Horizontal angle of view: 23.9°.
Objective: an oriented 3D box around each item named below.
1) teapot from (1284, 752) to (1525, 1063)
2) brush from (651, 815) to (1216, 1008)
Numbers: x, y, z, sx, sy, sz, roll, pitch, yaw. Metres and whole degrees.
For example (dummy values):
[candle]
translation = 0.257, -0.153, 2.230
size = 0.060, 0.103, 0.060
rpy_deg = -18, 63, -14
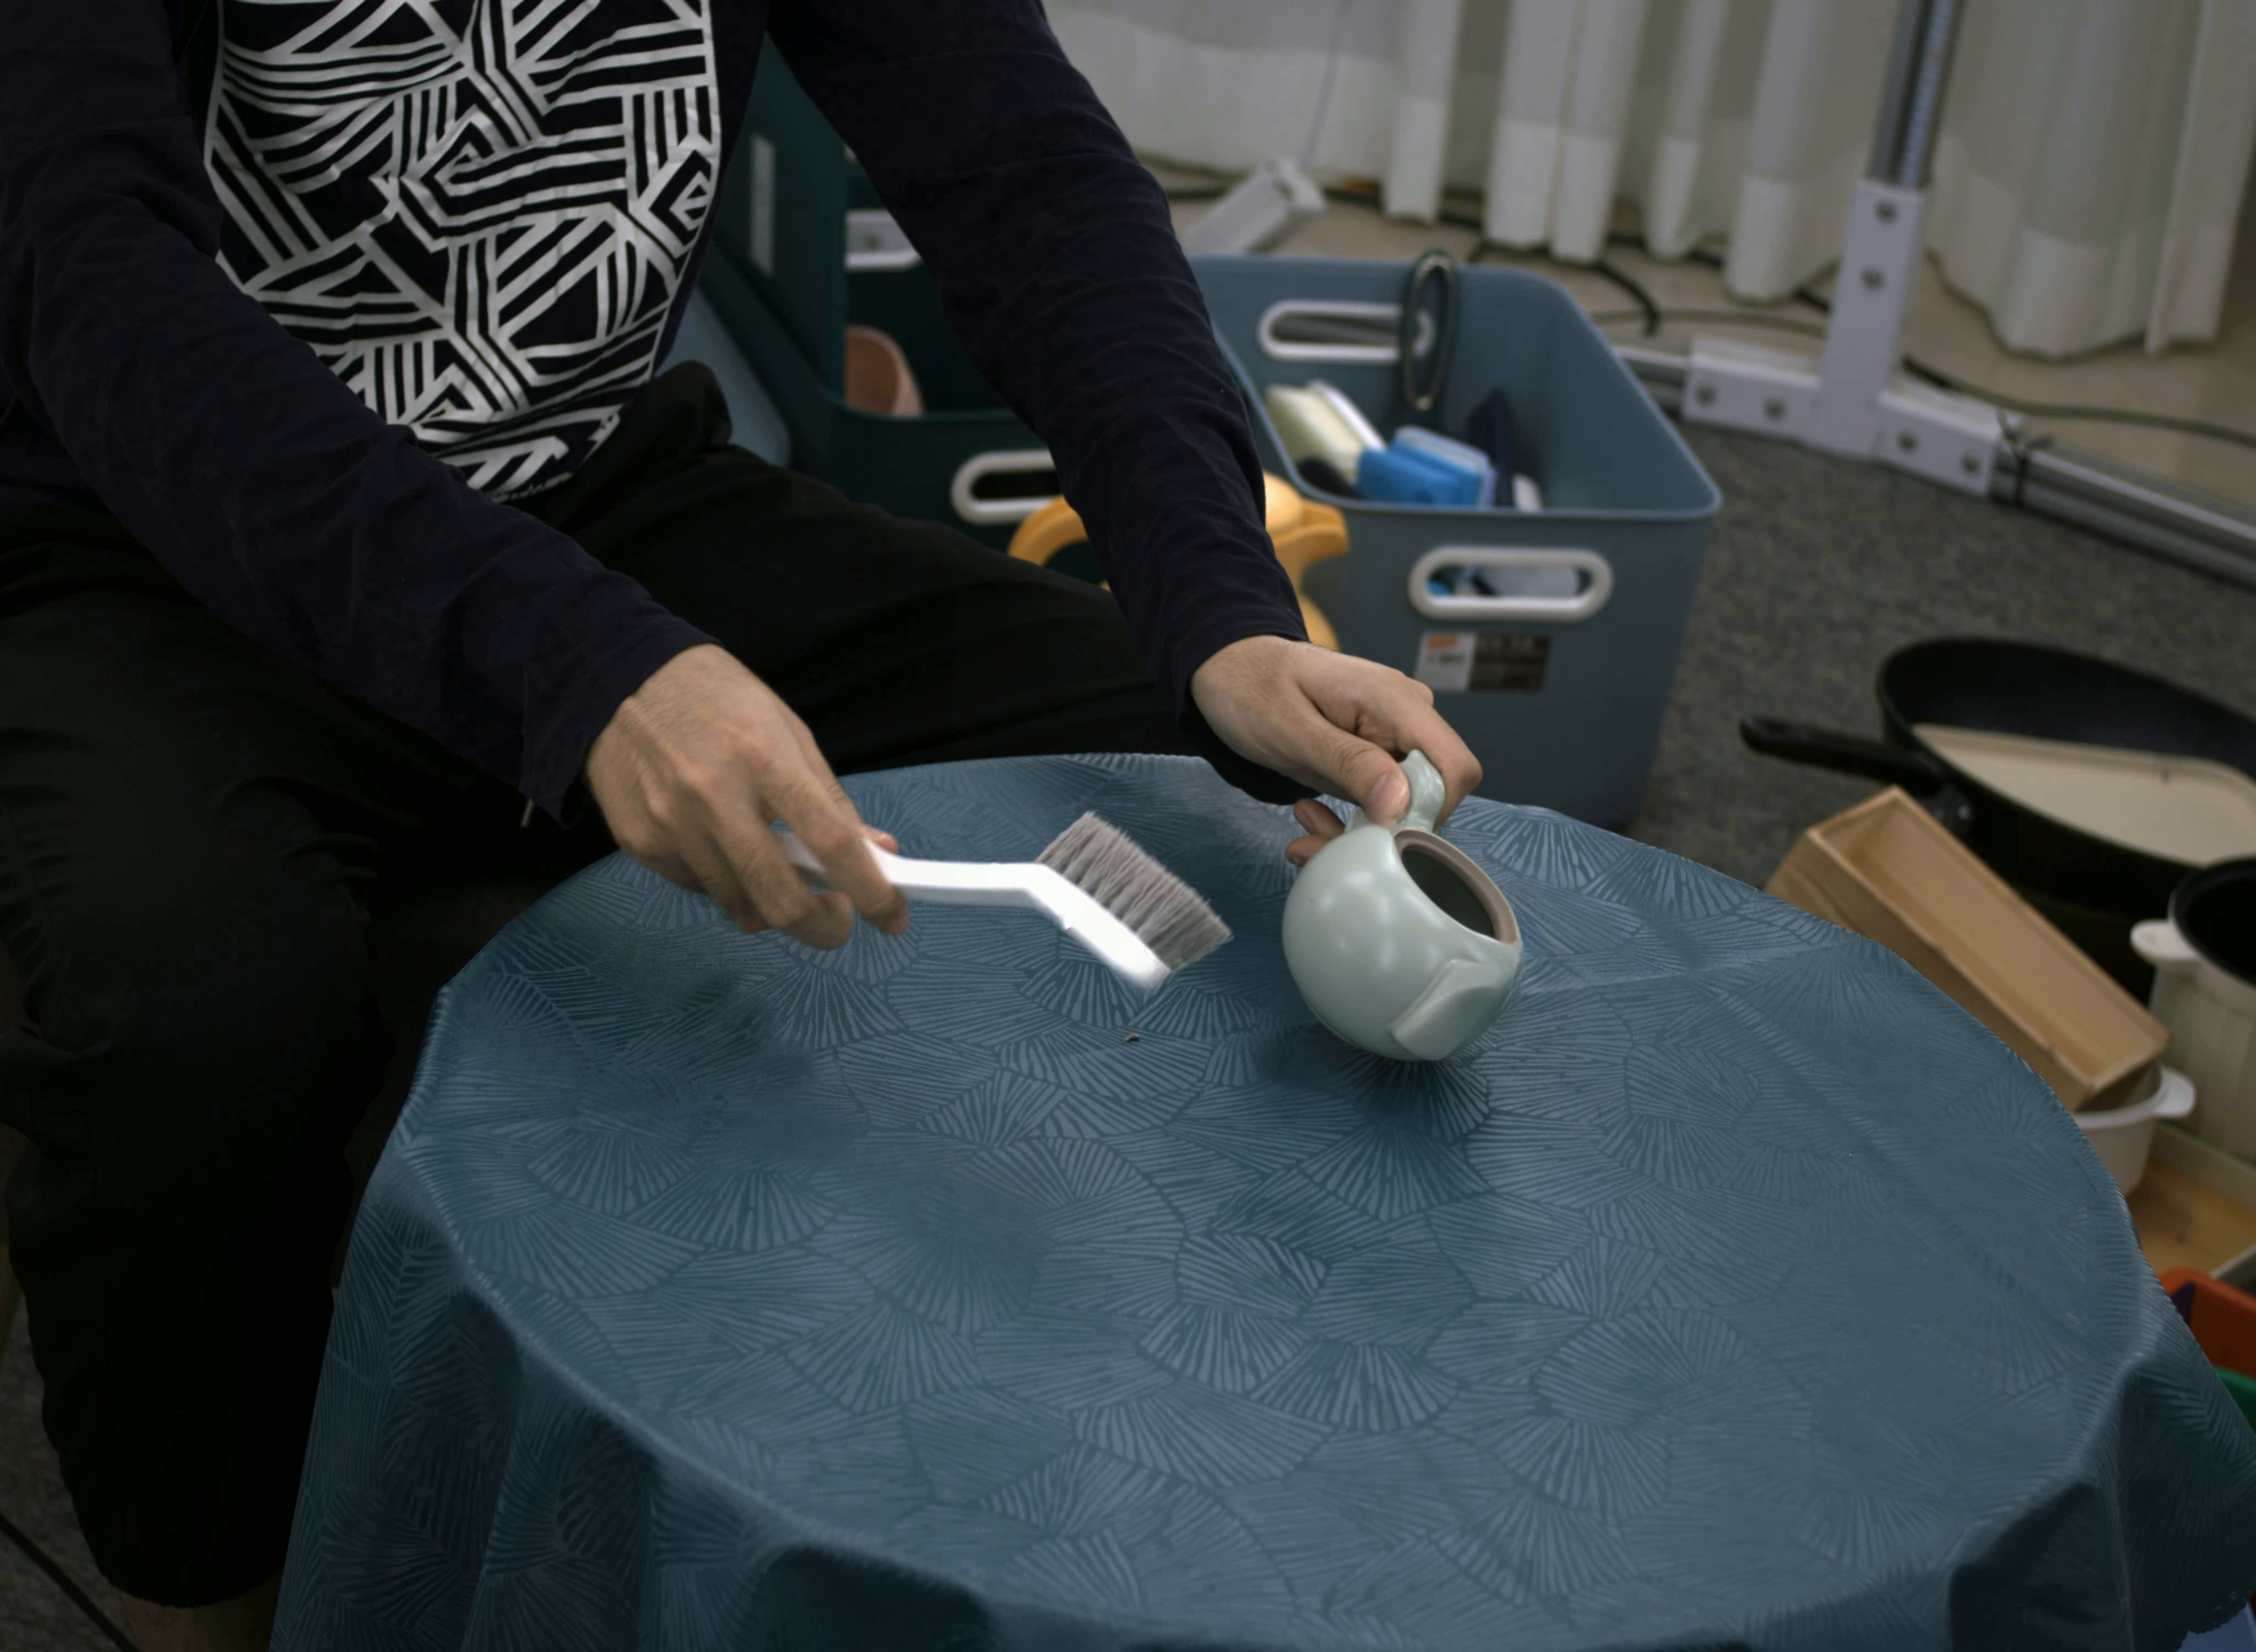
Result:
[teapot]
translation = 0.099, 0.041, 1.895
size = 0.087, 0.074, 0.145
rpy_deg = 26, 30, -28
[brush]
translation = -0.070, 0.010, 1.828
size = 0.245, 0.050, 0.034
rpy_deg = 17, -11, 40
